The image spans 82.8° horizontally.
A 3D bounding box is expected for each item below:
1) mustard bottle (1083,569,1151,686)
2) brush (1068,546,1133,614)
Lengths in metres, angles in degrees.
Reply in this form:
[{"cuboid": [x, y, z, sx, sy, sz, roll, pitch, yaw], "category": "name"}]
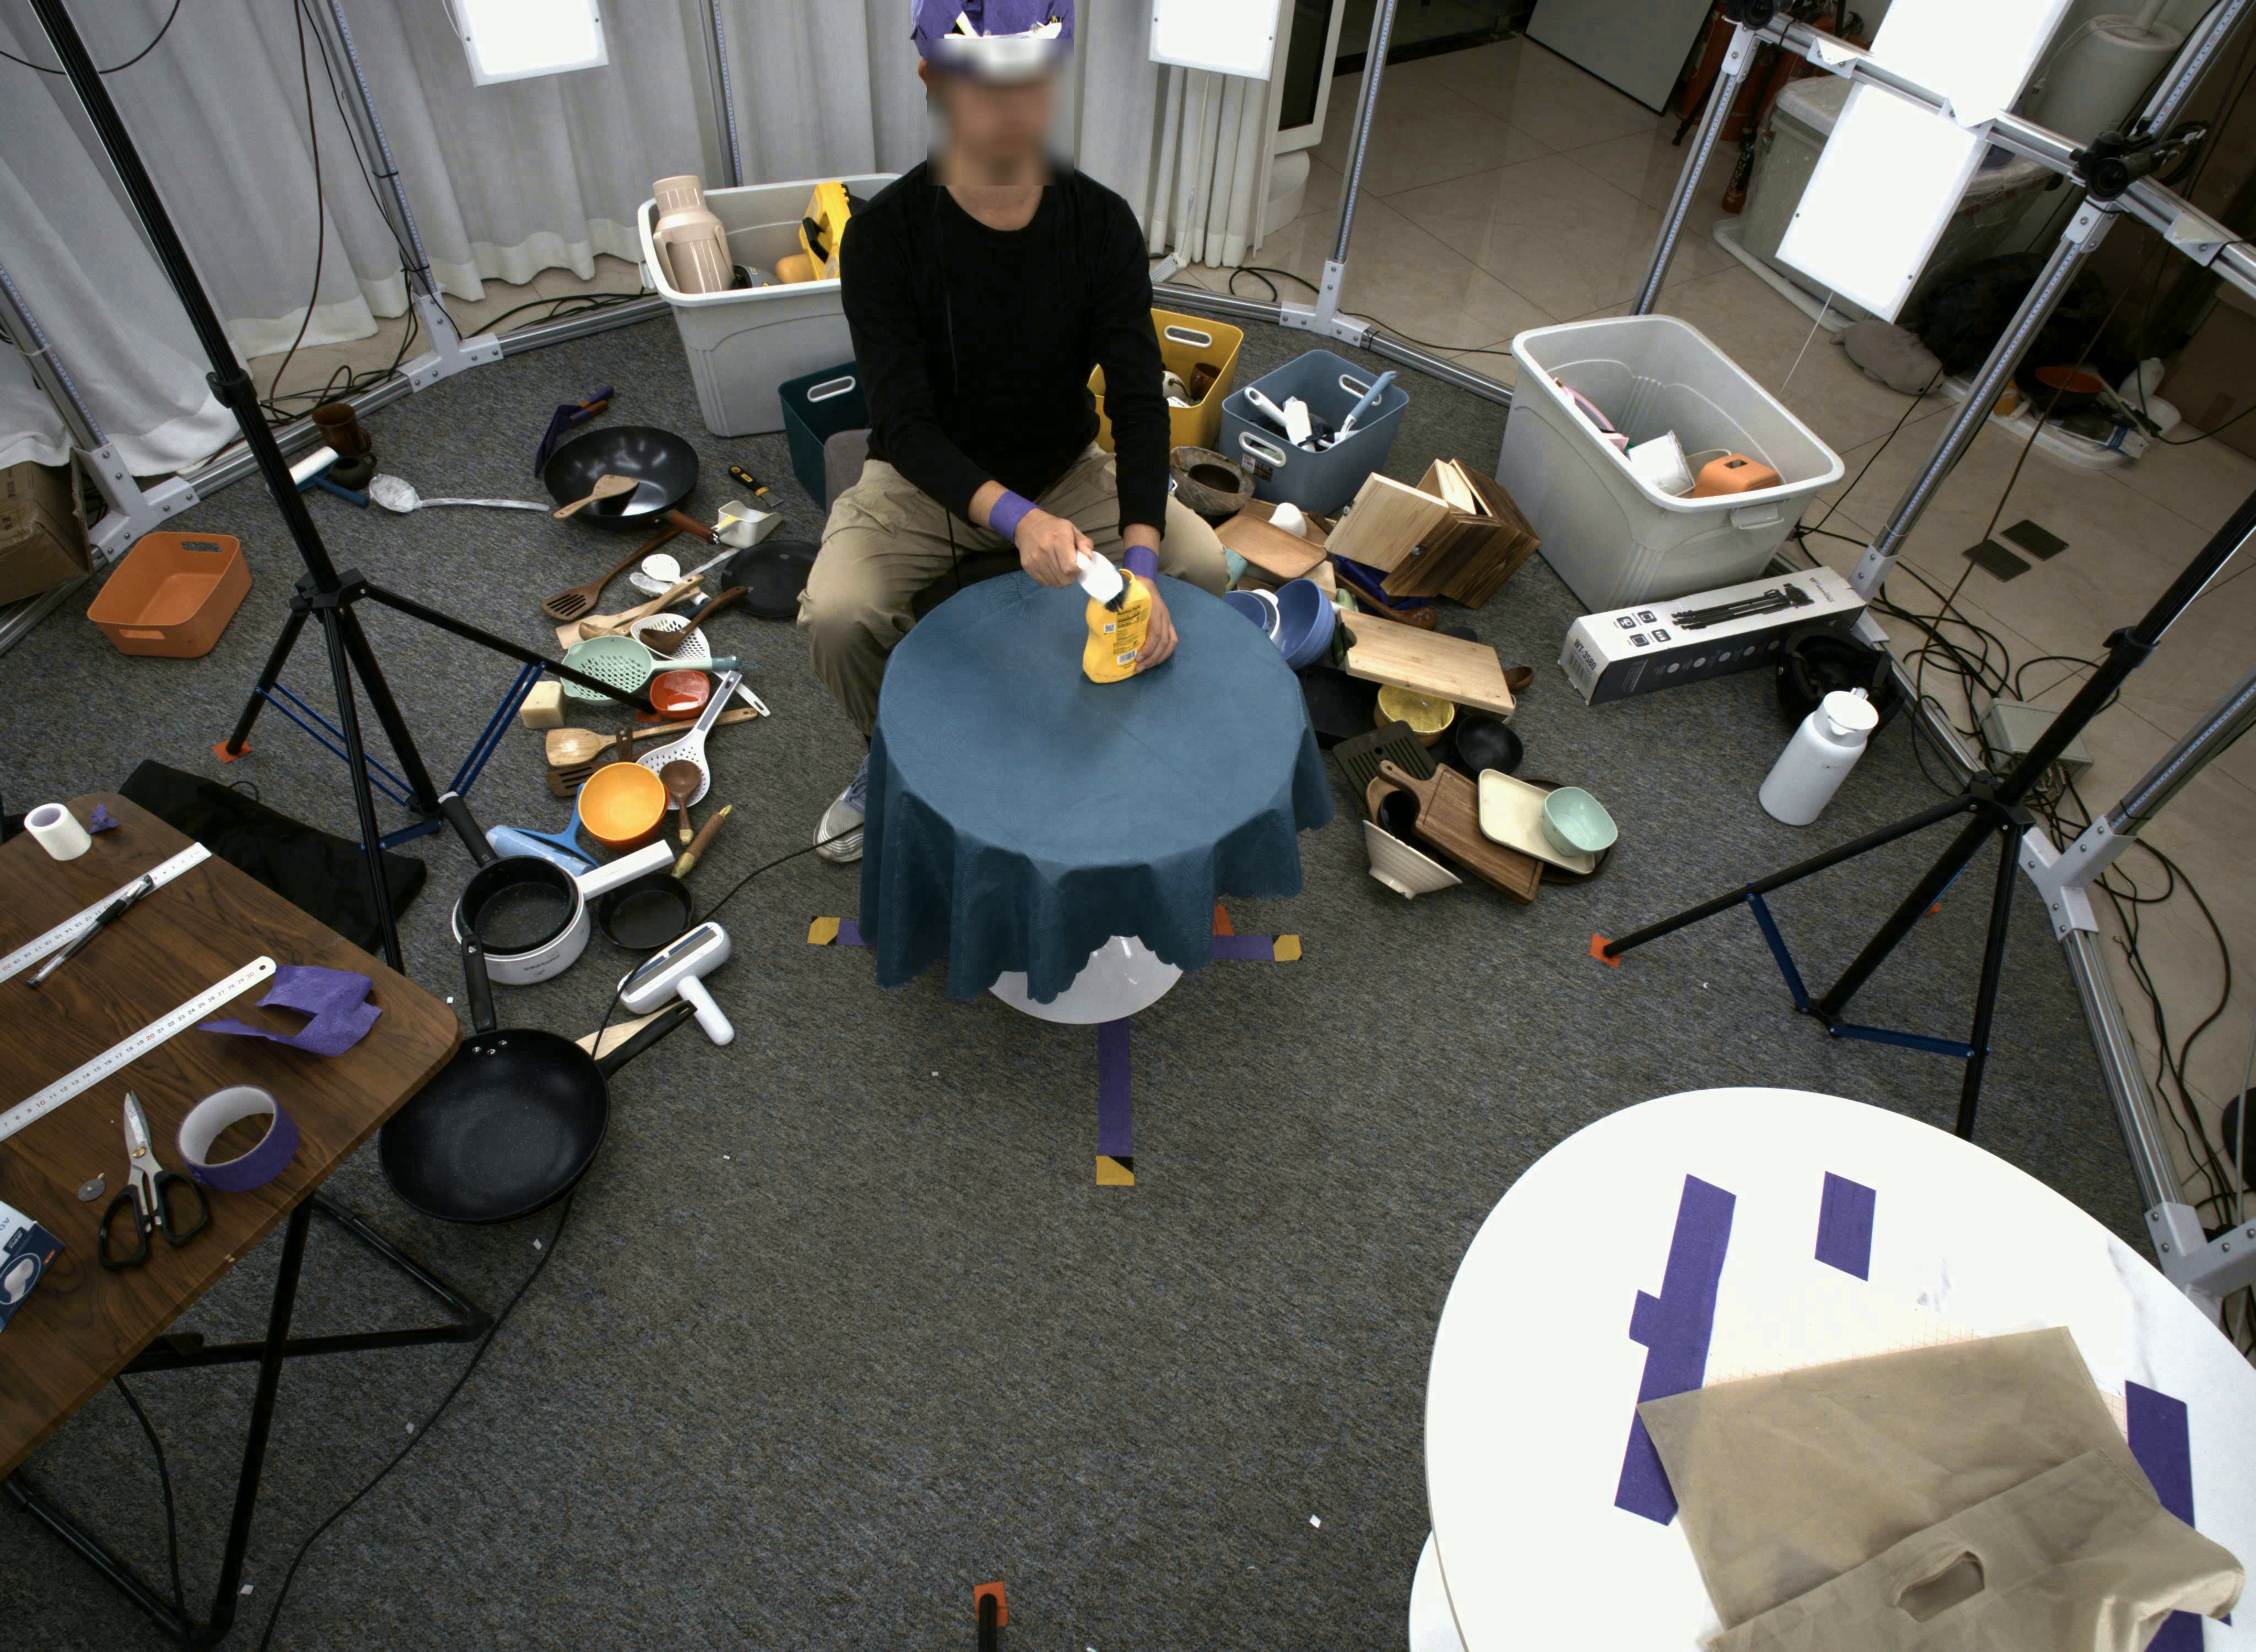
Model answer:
[{"cuboid": [-0.015, -0.280, 1.801, 0.098, 0.168, 0.060, -25, 52, -23], "category": "mustard bottle"}, {"cuboid": [-0.044, -0.334, 1.705, 0.050, 0.071, 0.101, -43, 49, 10], "category": "brush"}]
